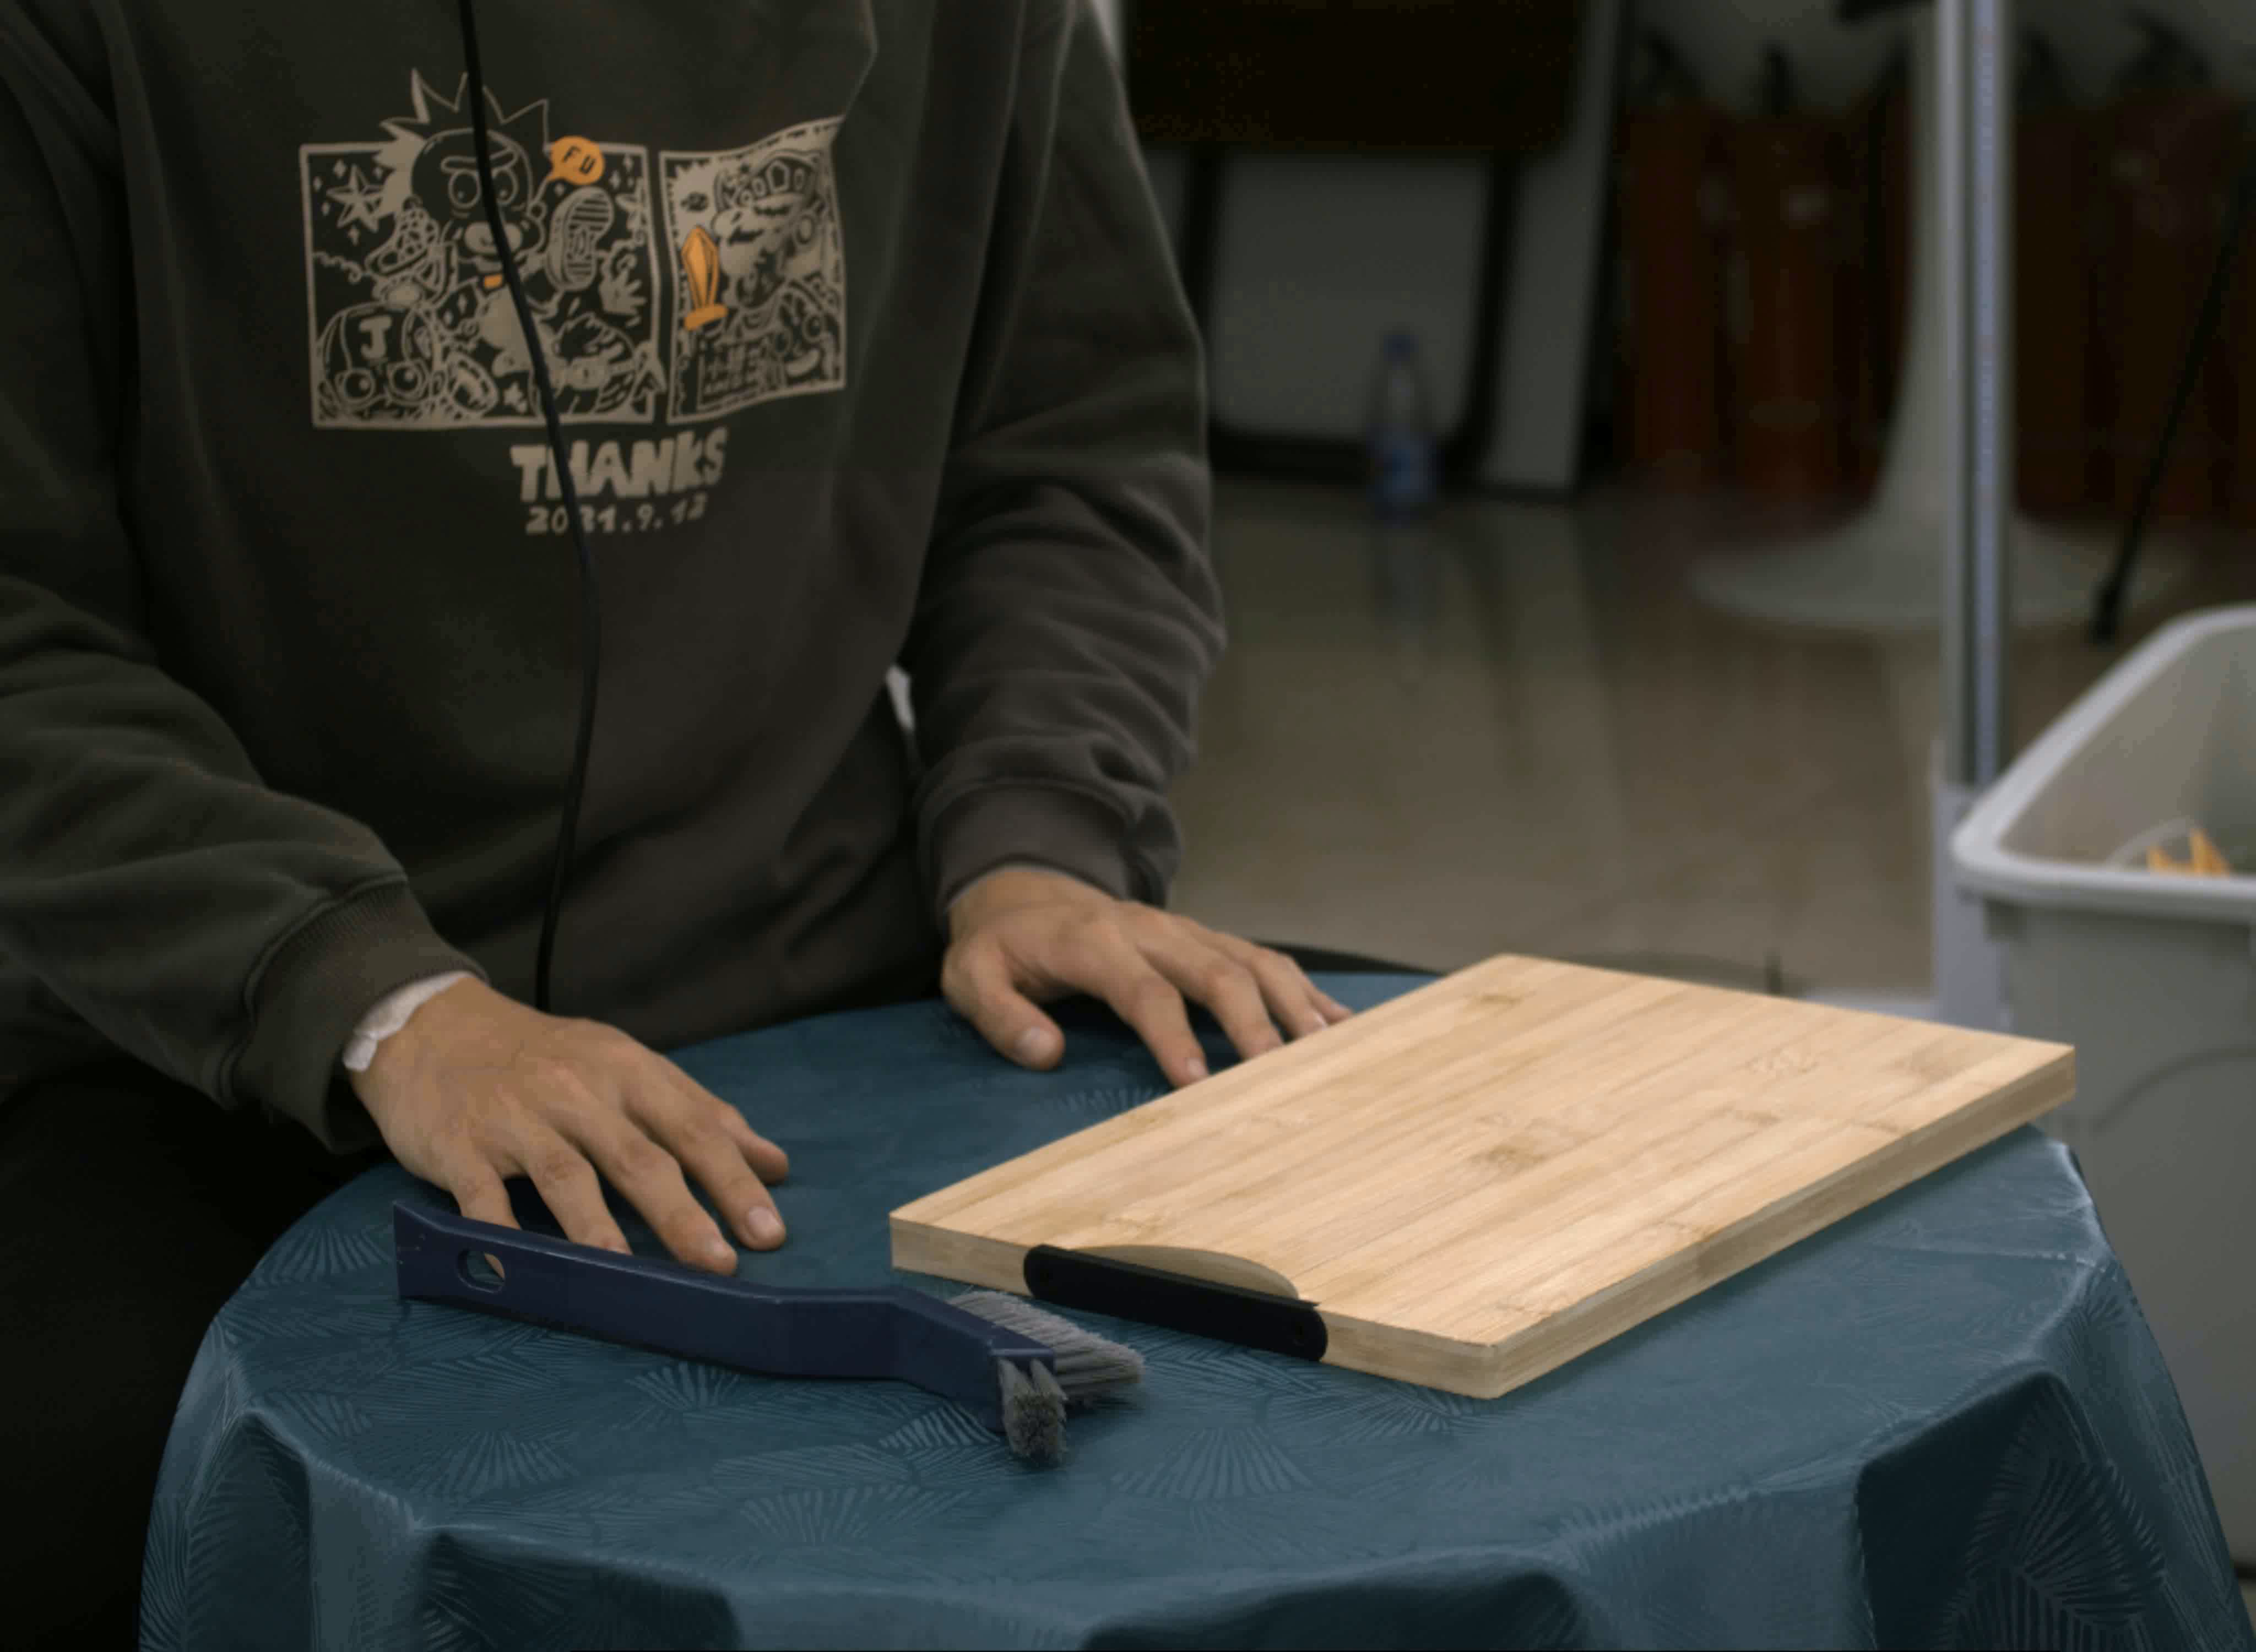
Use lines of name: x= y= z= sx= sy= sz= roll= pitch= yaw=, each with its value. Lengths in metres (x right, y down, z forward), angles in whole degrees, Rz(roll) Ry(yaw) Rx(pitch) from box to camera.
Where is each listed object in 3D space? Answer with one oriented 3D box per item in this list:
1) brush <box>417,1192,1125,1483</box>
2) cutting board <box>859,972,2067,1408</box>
brush: x=-0.123 y=0.151 z=1.625 sx=0.274 sy=0.034 sz=0.094 roll=6 pitch=17 yaw=31
cutting board: x=0.116 y=0.112 z=1.751 sx=0.252 sy=0.024 sz=0.342 roll=6 pitch=17 yaw=39
